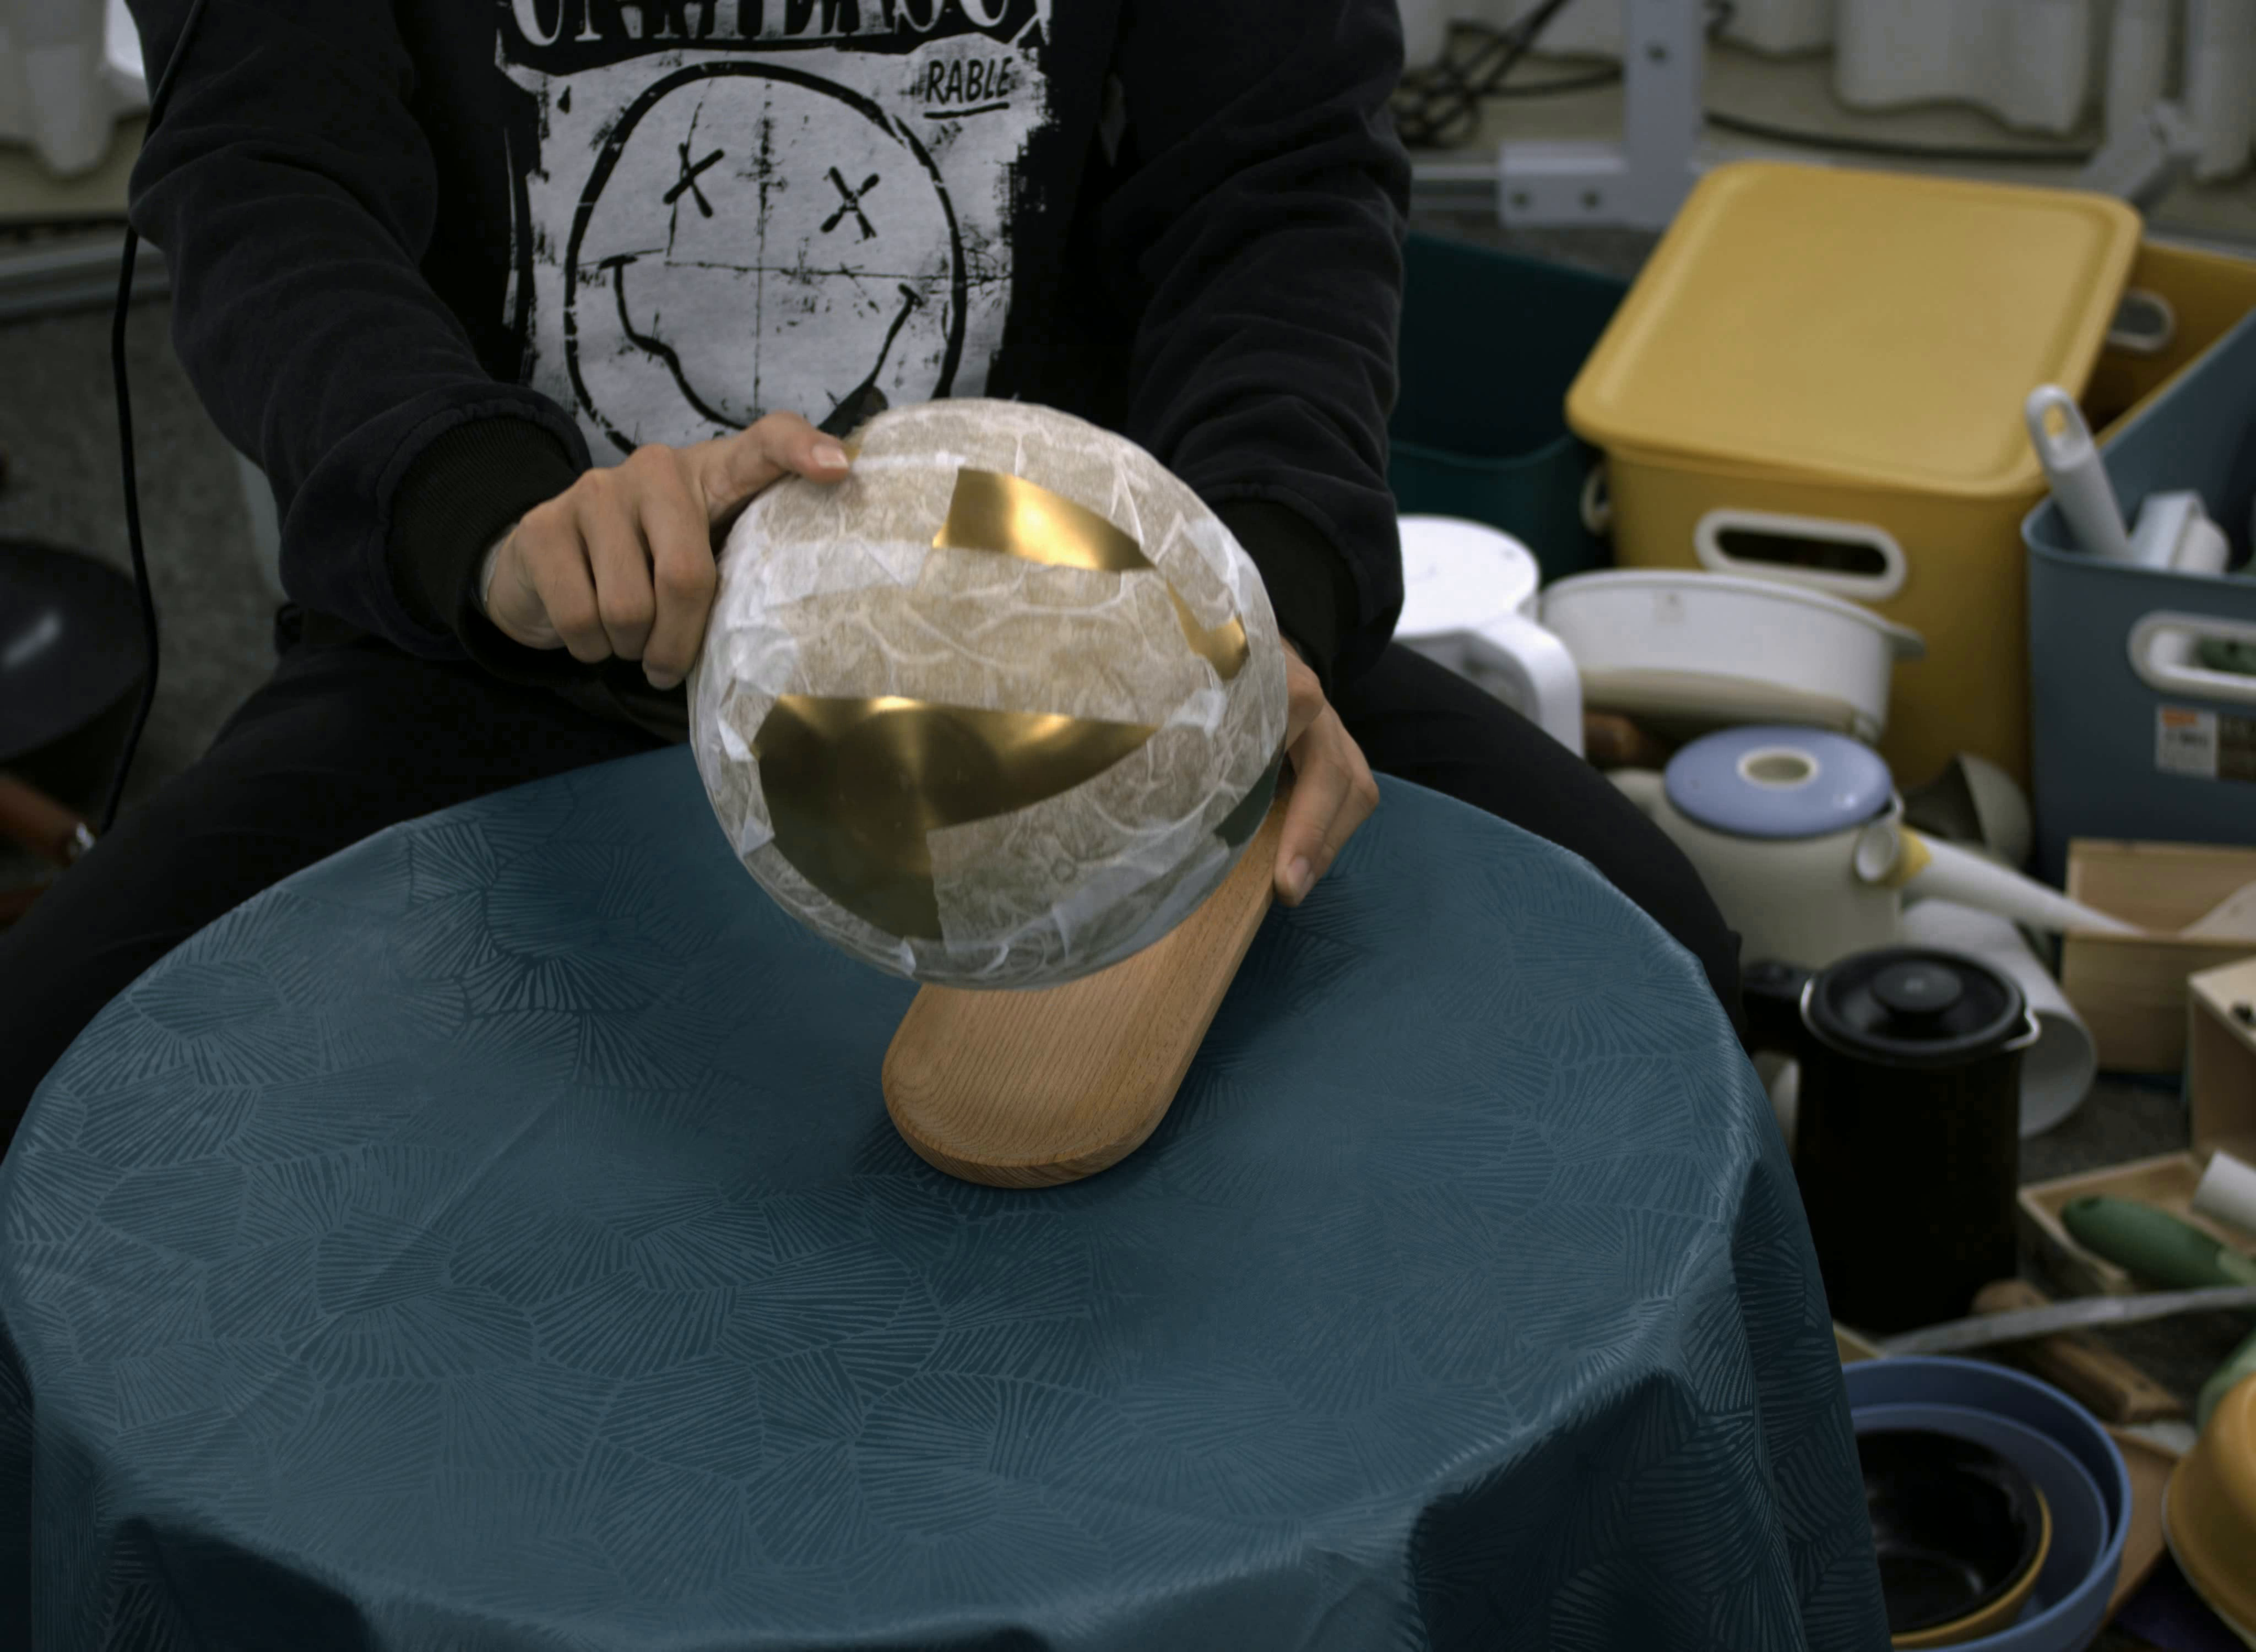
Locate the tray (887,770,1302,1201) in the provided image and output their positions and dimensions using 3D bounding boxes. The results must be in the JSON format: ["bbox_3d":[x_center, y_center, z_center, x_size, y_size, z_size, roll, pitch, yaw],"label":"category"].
[{"bbox_3d":[-0.009,0.047,1.942,0.101,0.020,0.236,7,43,19],"label":"tray"}]

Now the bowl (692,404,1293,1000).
[{"bbox_3d":[-0.054,-0.023,1.816,0.213,0.213,0.096,4,24,13],"label":"bowl"}]
